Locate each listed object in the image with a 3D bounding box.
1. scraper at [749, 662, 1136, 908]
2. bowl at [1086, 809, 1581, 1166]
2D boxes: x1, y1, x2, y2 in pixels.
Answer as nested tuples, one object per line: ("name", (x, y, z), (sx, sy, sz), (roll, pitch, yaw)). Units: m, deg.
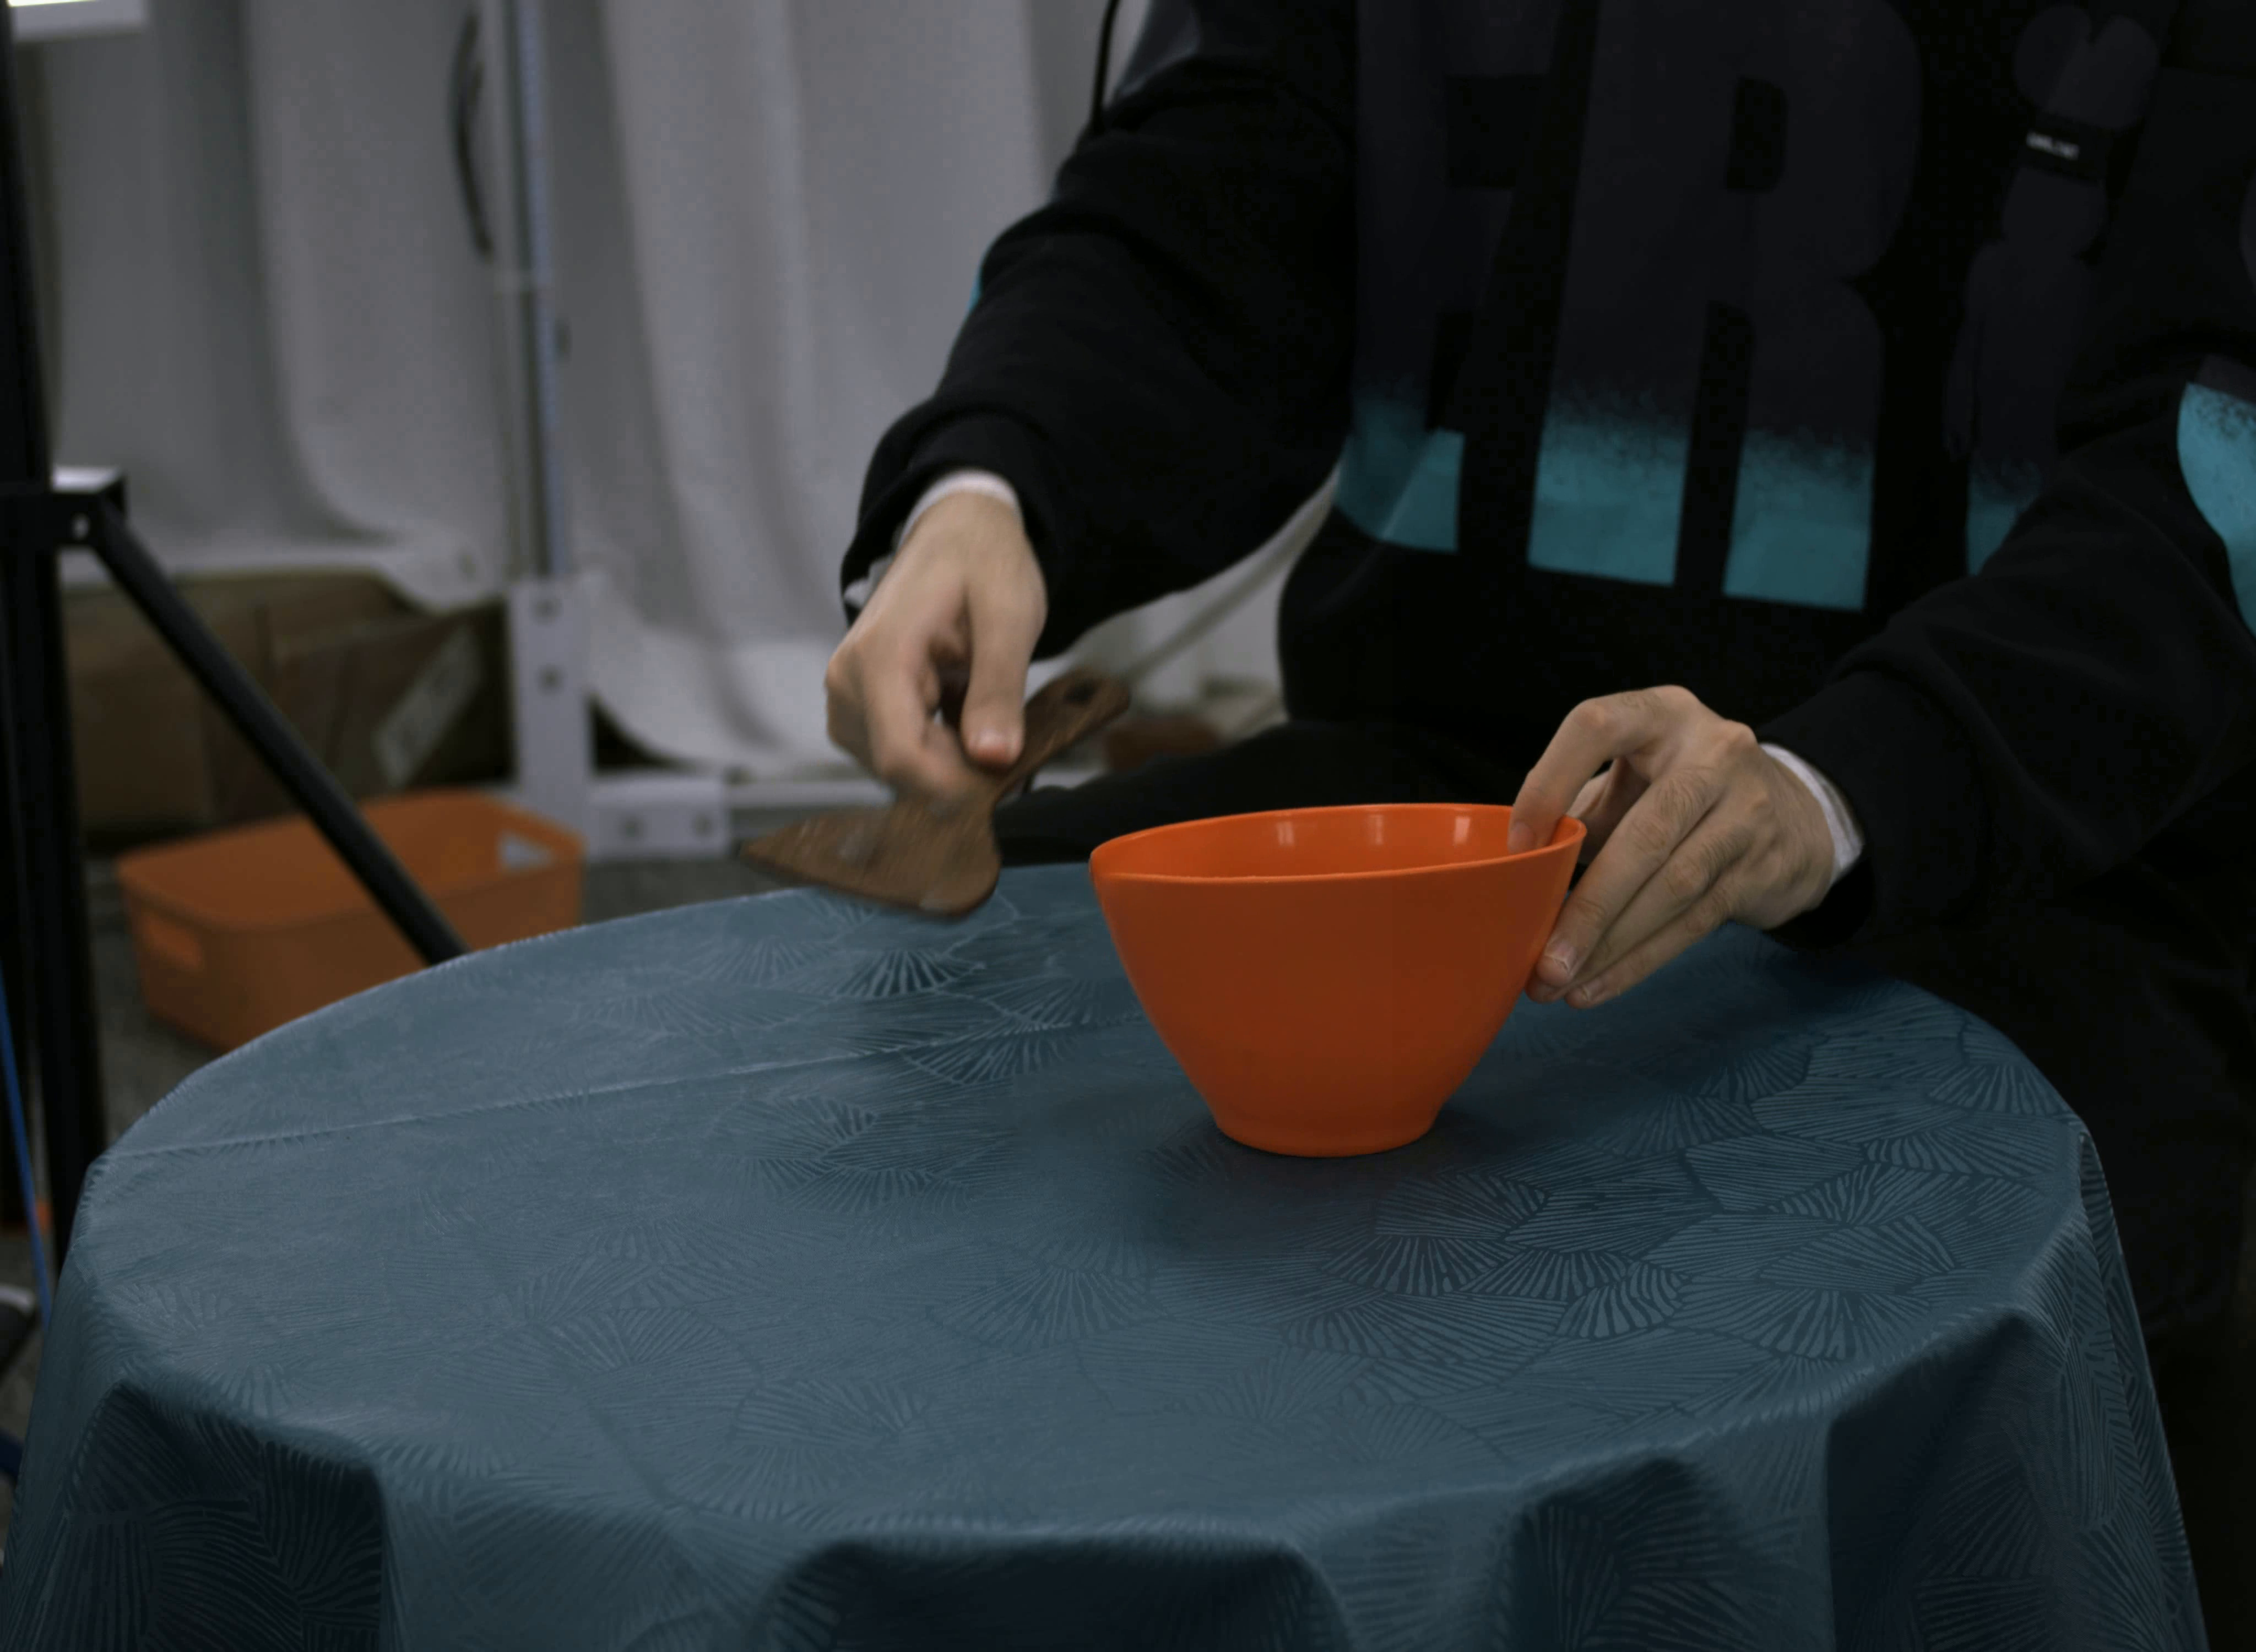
("scraper", (-0.046, -0.016, 1.682), (0.076, 0.011, 0.209), (17, 25, 17))
("bowl", (0.062, 0.046, 1.585), (0.147, 0.104, 0.149), (-2, 16, -1))
